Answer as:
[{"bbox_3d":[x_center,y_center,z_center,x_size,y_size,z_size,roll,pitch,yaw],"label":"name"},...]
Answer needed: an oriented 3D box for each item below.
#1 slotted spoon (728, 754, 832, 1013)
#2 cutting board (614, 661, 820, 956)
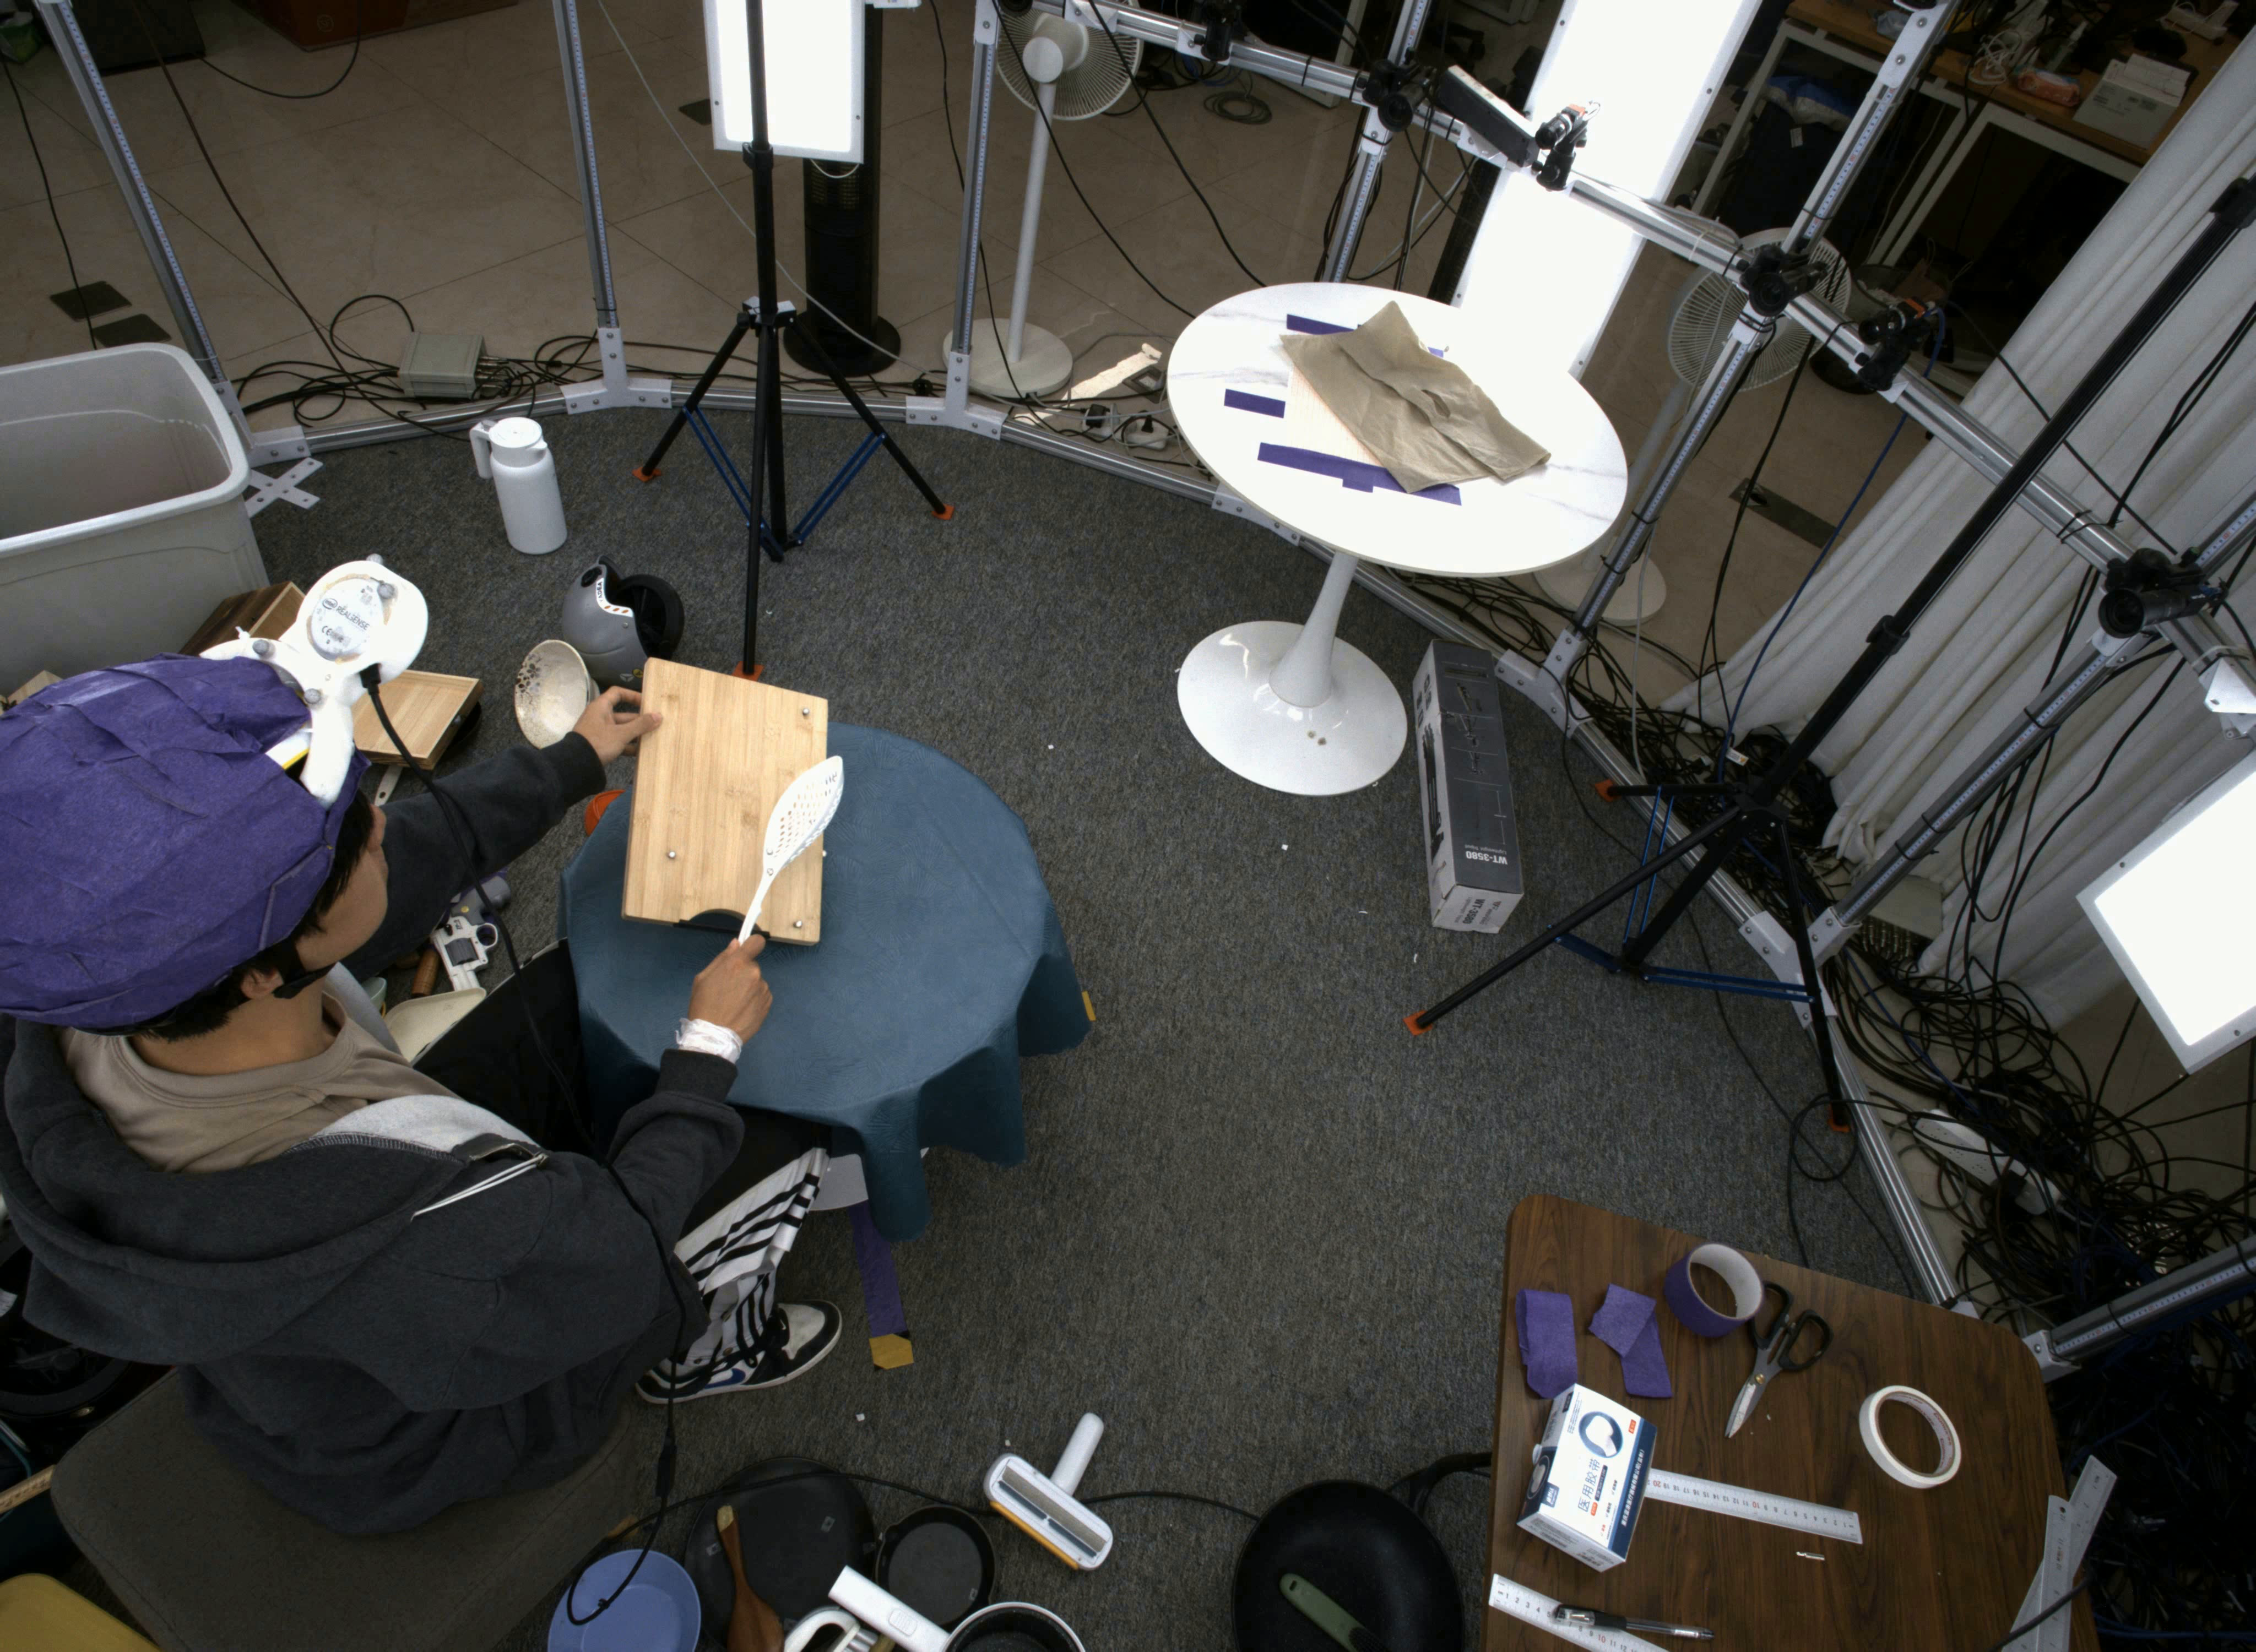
[{"bbox_3d":[-0.415,0.060,1.501,0.052,0.134,0.343,44,42,-29],"label":"slotted spoon"},{"bbox_3d":[-0.503,-0.022,1.601,0.256,0.023,0.346,10,65,-36],"label":"cutting board"}]
